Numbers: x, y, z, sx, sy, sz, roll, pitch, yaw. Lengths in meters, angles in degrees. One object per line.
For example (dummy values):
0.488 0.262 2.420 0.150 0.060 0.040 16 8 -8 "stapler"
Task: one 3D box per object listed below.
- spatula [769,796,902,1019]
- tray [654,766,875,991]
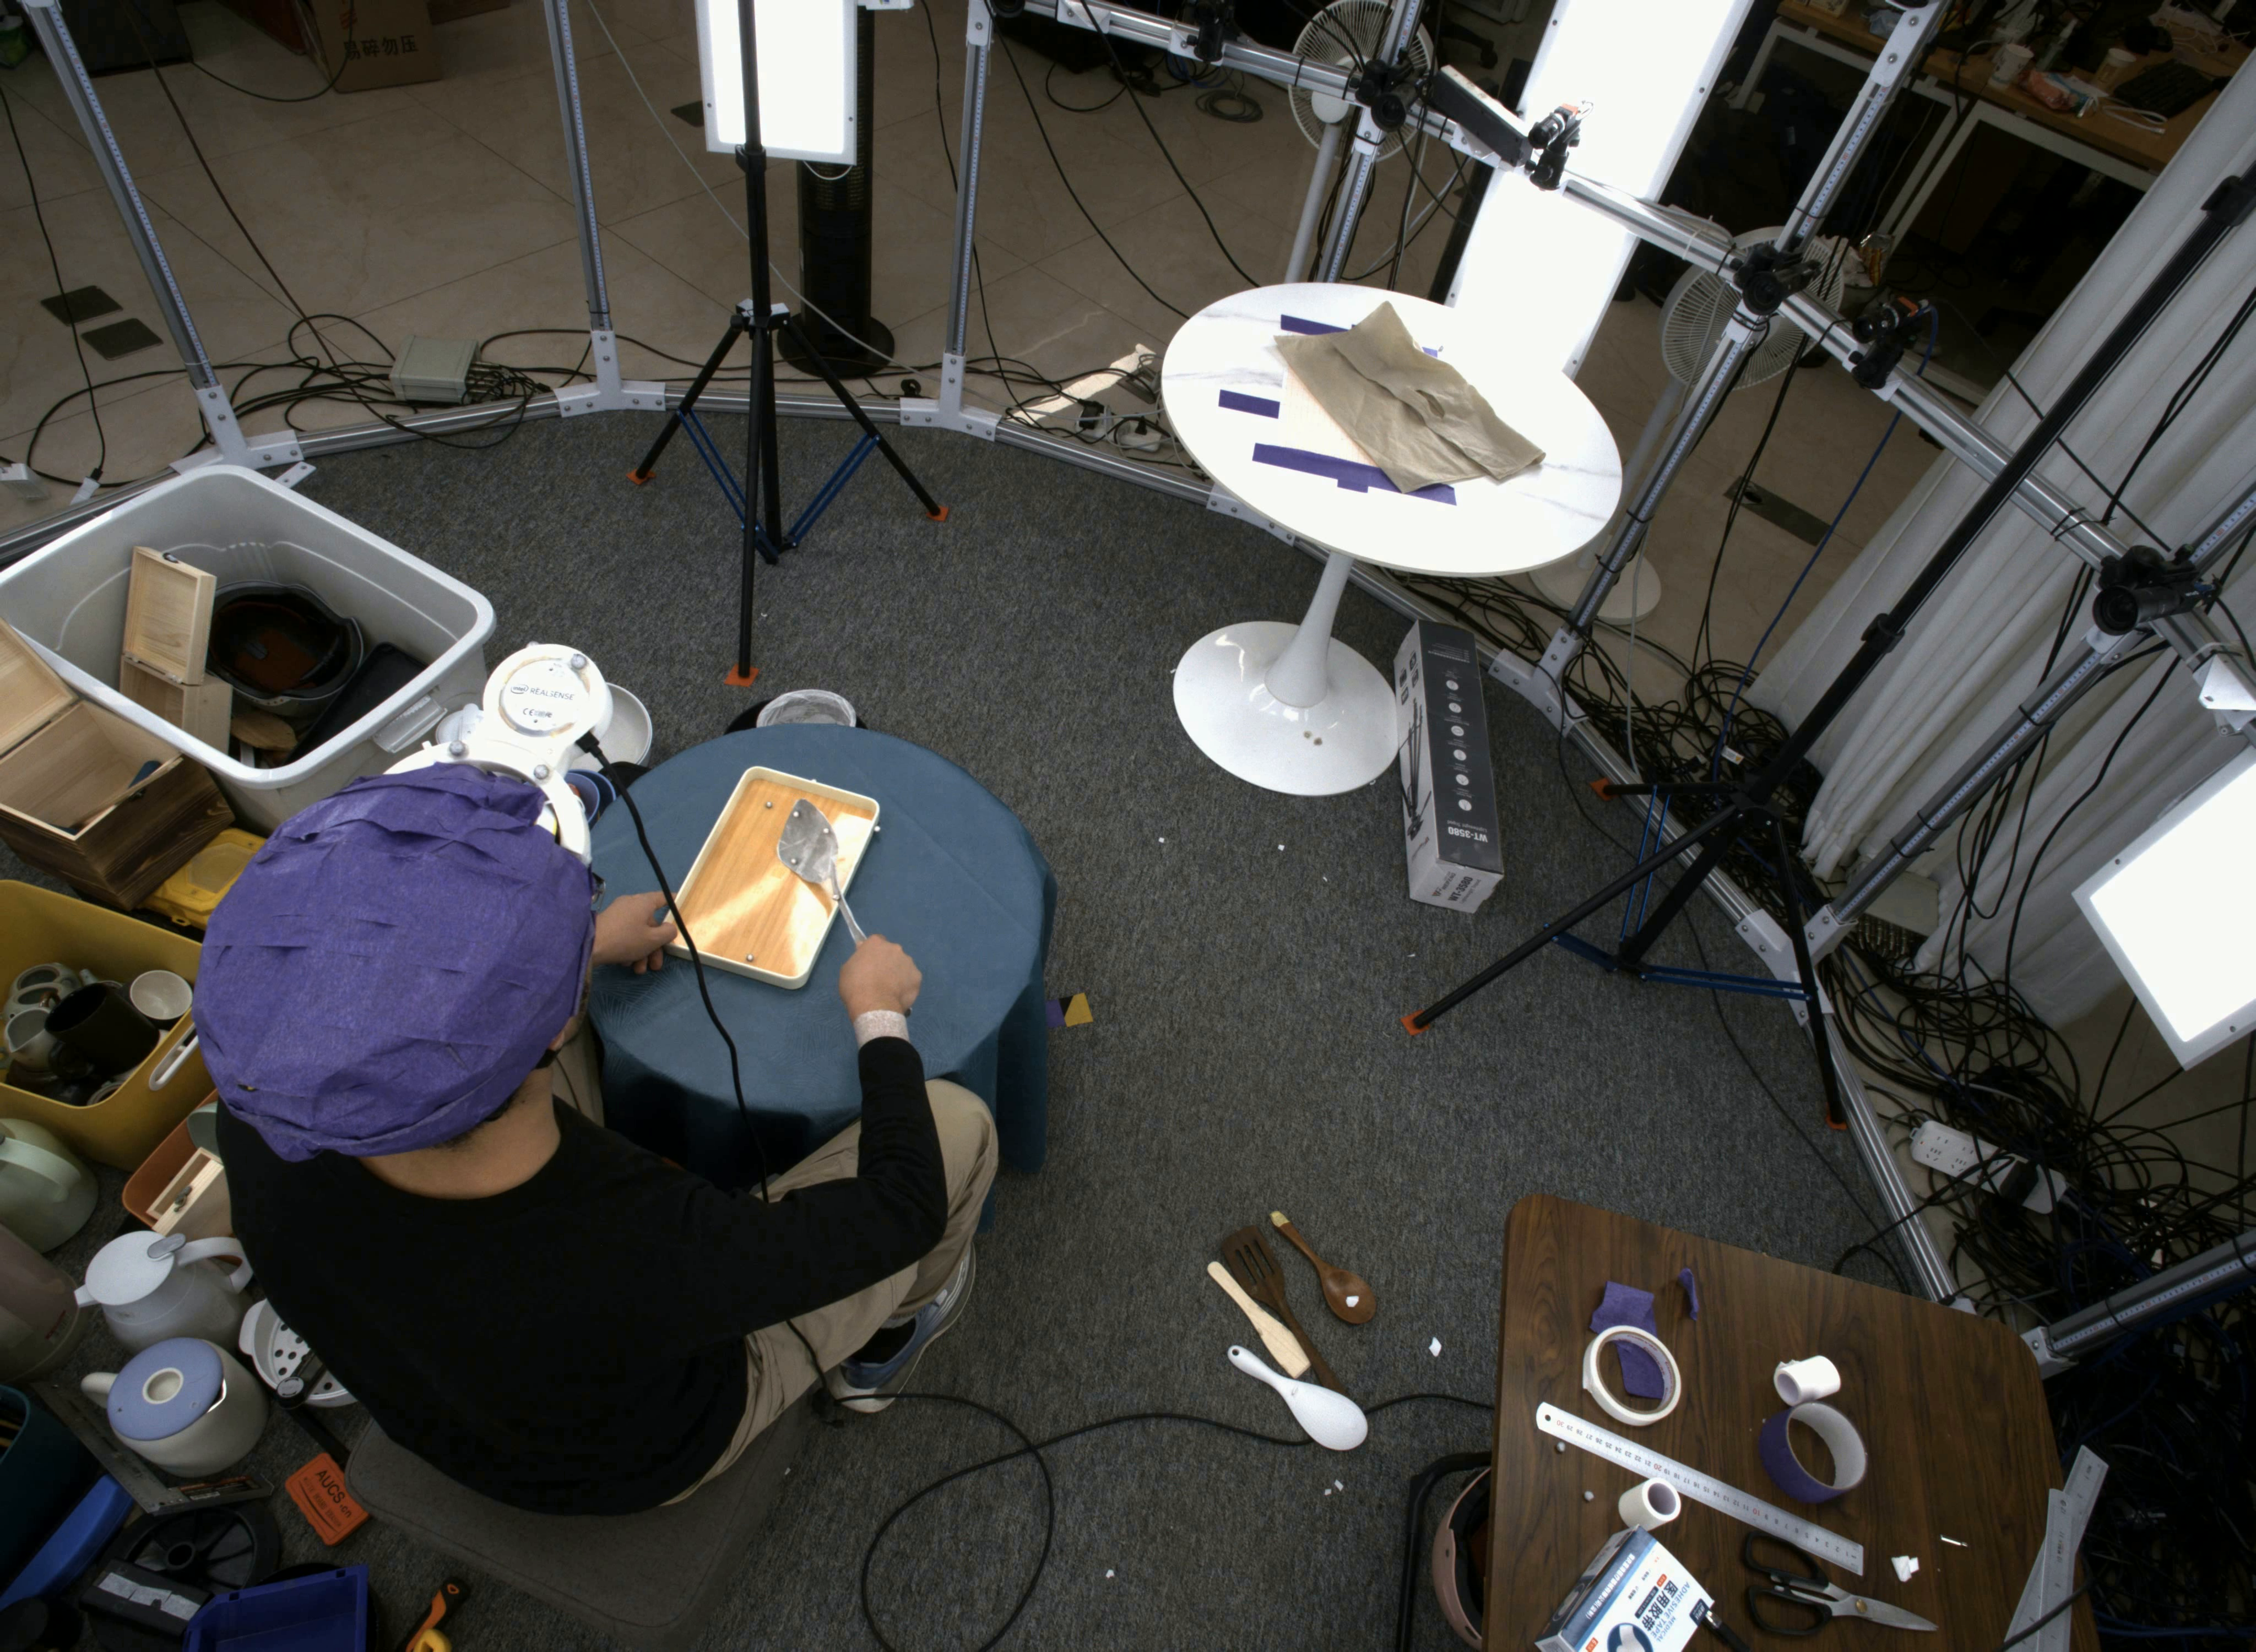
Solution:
-0.350 0.099 1.560 0.046 0.100 0.352 8 32 -40 "spatula"
-0.457 0.059 1.648 0.190 0.028 0.296 17 52 -2 "tray"
